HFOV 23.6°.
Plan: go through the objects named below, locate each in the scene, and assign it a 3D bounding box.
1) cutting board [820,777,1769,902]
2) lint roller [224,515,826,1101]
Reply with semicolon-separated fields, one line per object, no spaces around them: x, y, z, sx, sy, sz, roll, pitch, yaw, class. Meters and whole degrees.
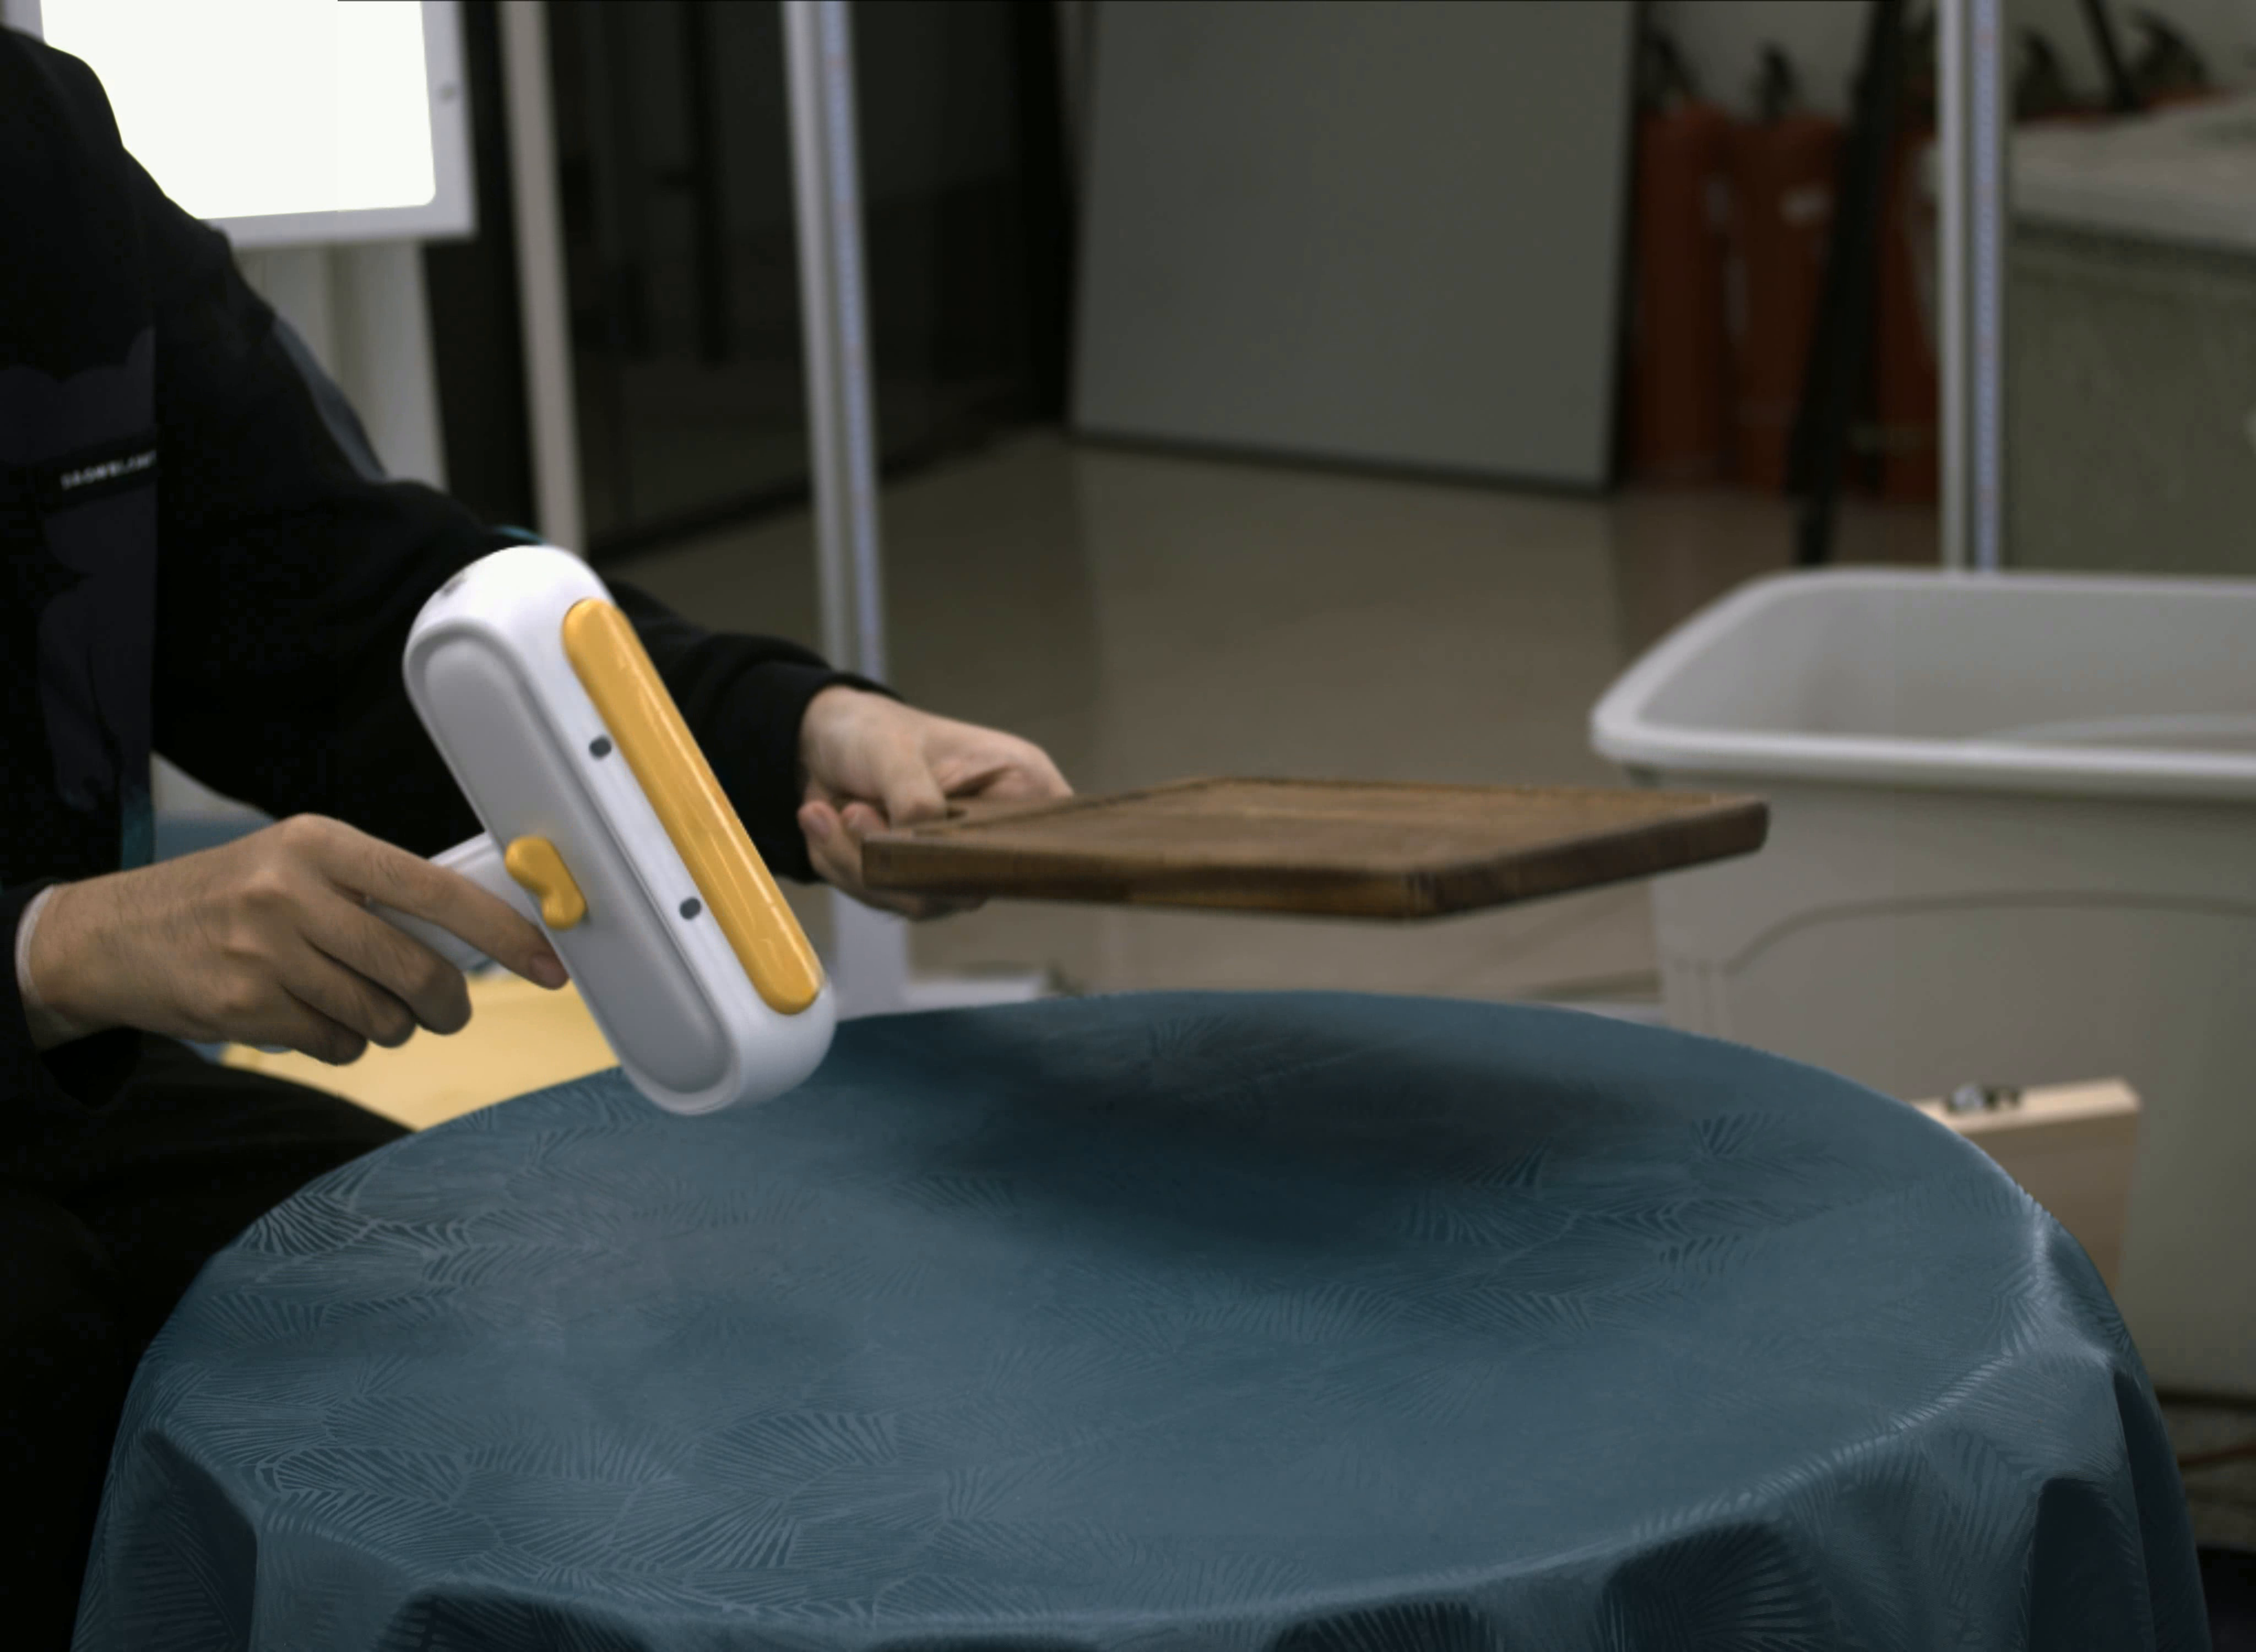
0.027;0.002;1.854;0.355;0.023;0.197;1;7;42;cutting board
-0.206;0.020;1.710;0.194;0.193;0.073;-27;9;37;lint roller
